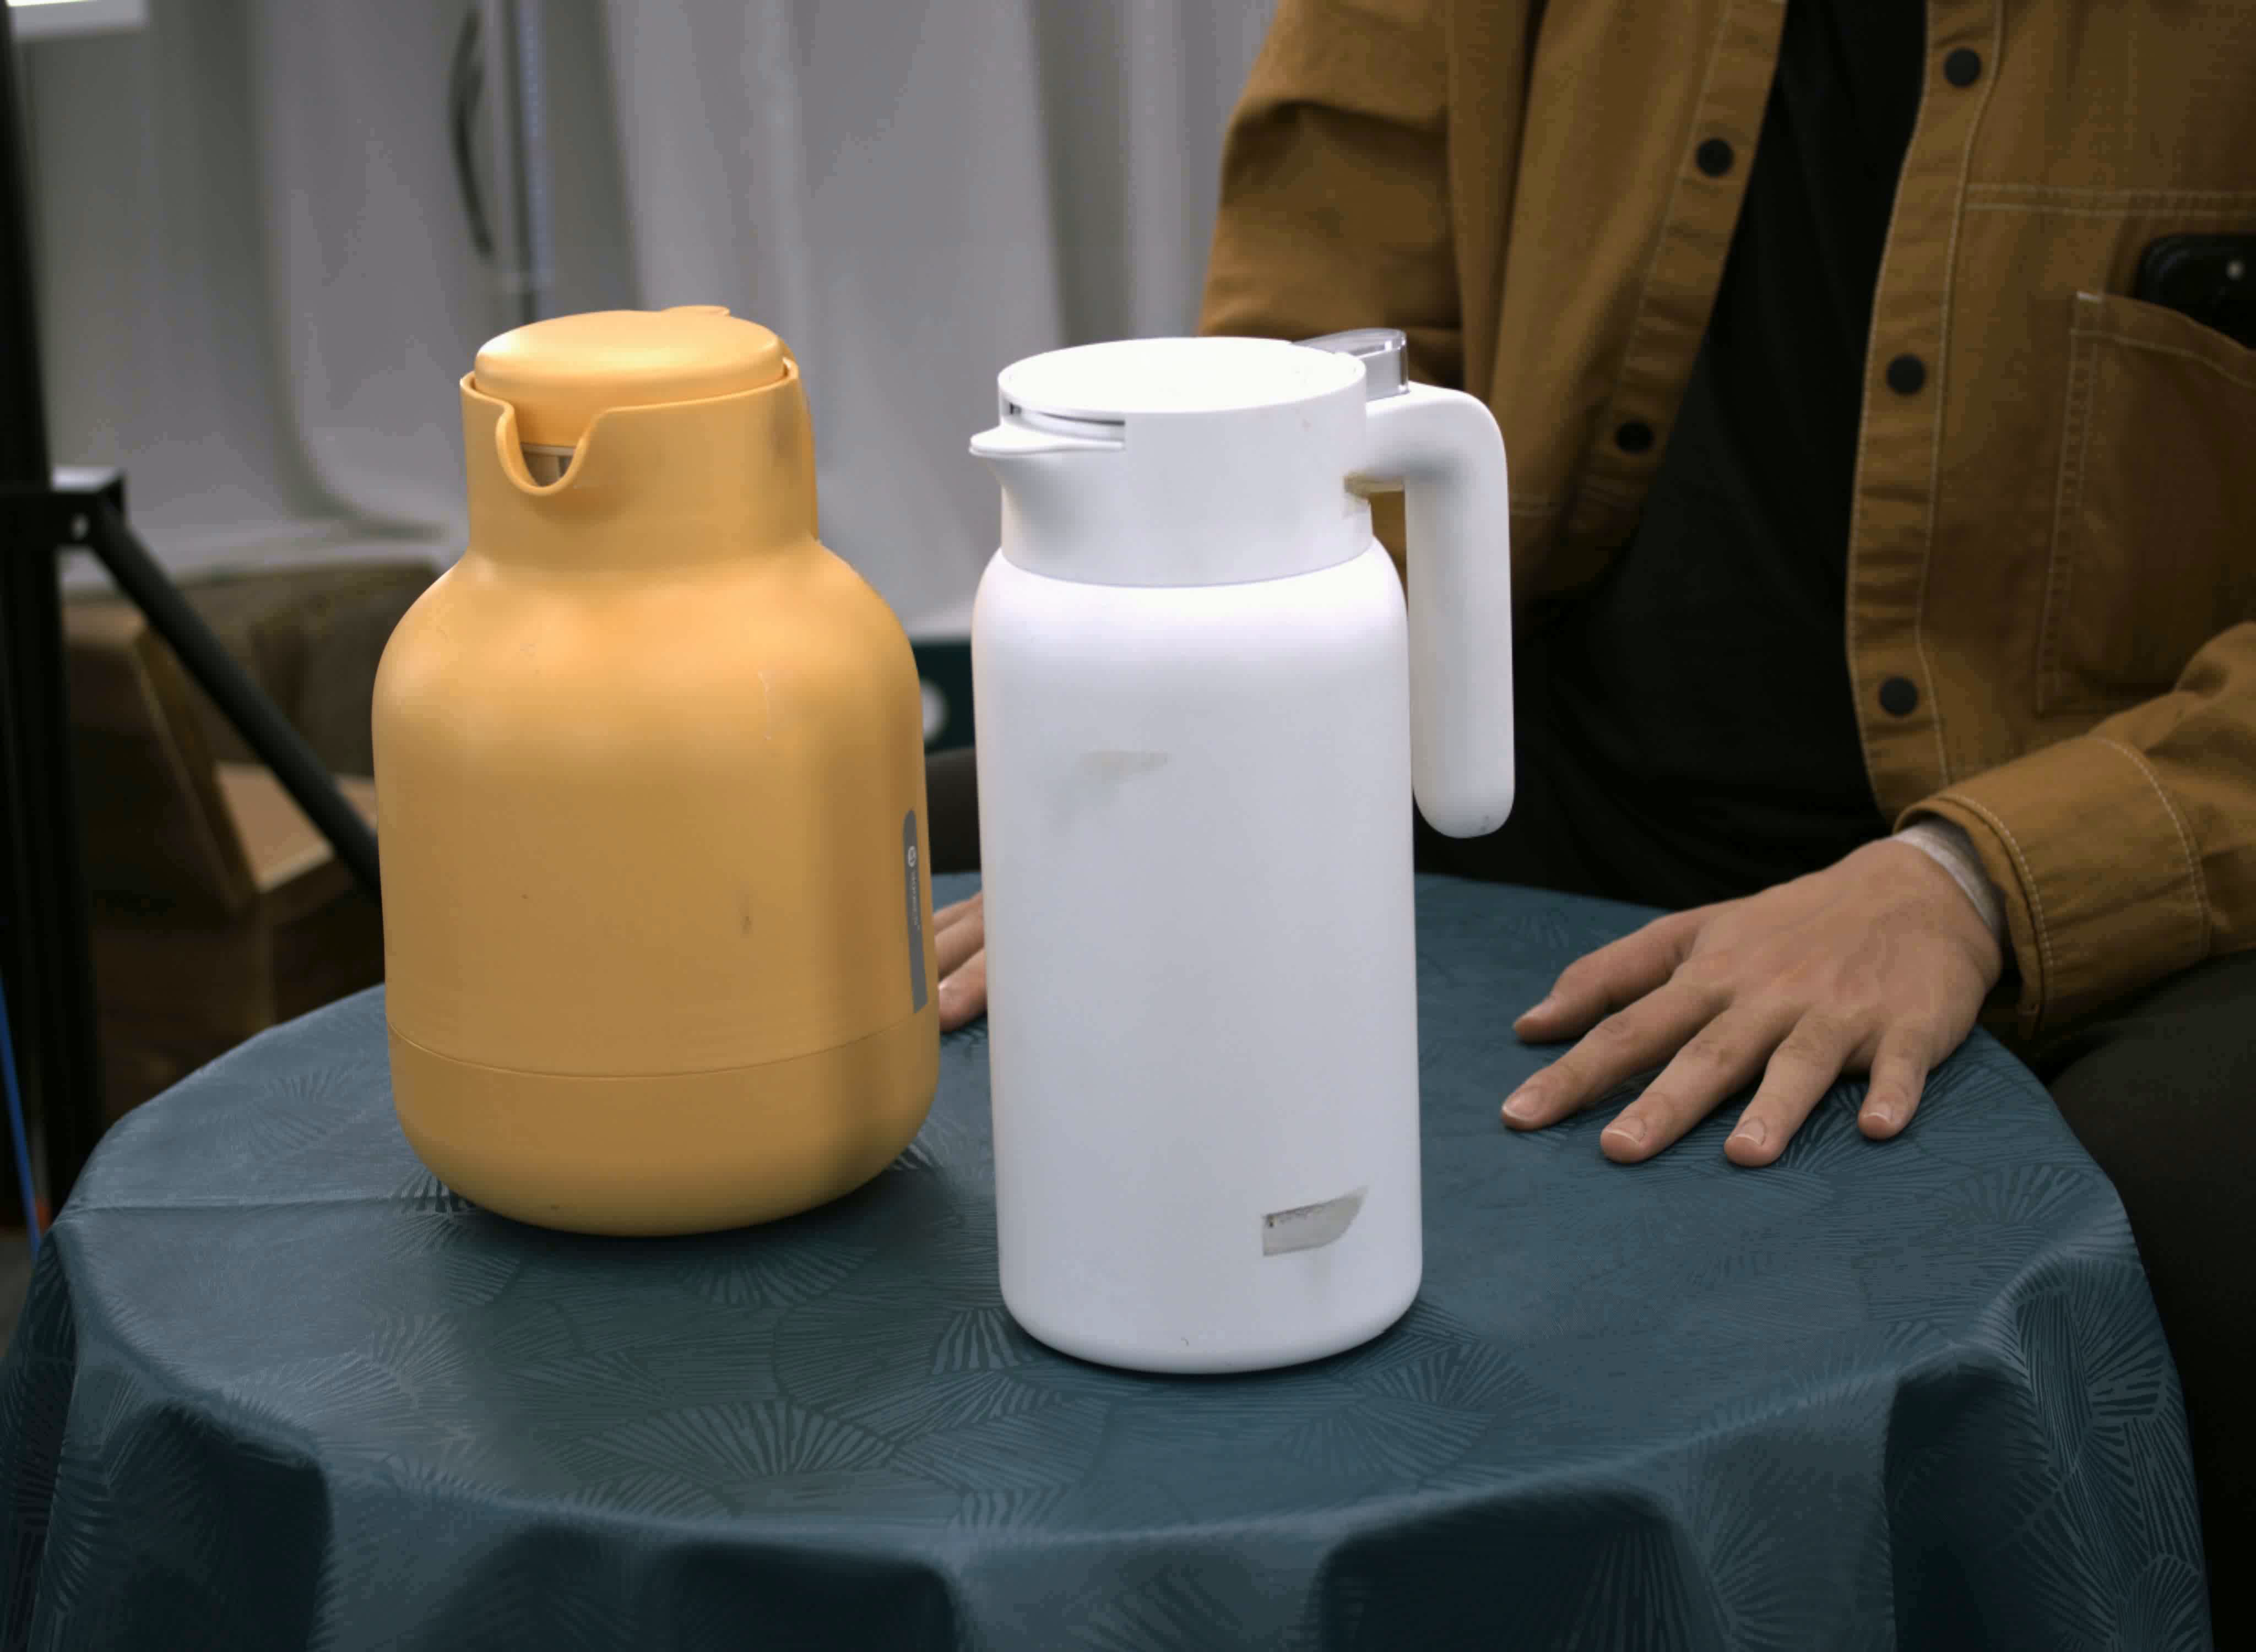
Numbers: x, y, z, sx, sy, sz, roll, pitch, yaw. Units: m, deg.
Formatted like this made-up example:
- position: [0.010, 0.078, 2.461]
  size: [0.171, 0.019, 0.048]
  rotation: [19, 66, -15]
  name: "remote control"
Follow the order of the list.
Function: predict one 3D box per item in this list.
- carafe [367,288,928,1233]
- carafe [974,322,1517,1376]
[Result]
- position: [-0.133, -0.027, 1.573]
  size: [0.165, 0.260, 0.200]
  rotation: [6, 18, 18]
  name: "carafe"
- position: [0.032, 0.002, 1.436]
  size: [0.169, 0.269, 0.126]
  rotation: [-13, 17, -36]
  name: "carafe"
